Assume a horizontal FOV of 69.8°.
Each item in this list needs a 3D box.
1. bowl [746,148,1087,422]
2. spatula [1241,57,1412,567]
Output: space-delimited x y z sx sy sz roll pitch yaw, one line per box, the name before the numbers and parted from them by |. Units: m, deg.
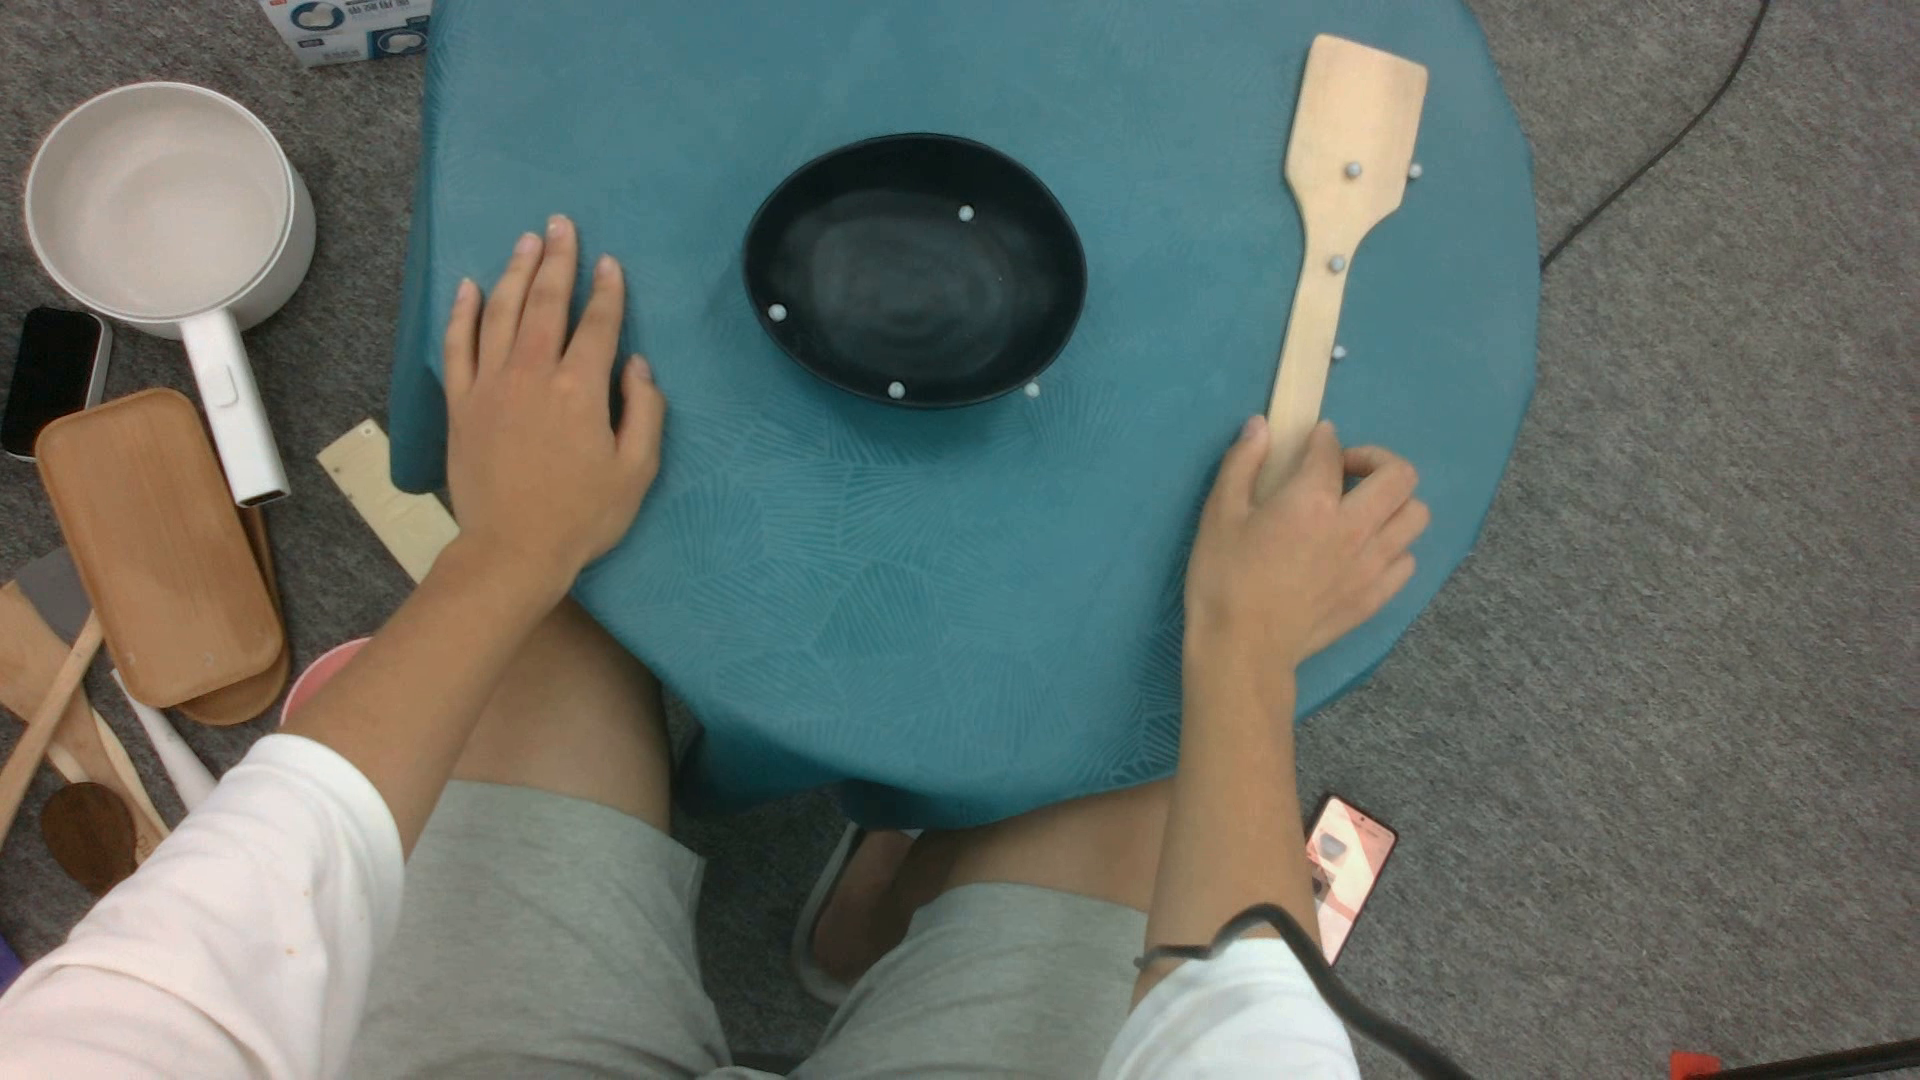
bowl | -0.023 -0.123 0.705 0.170 0.066 0.137 1 83 -6
spatula | 0.196 -0.127 0.765 0.072 0.010 0.293 14 81 -7
